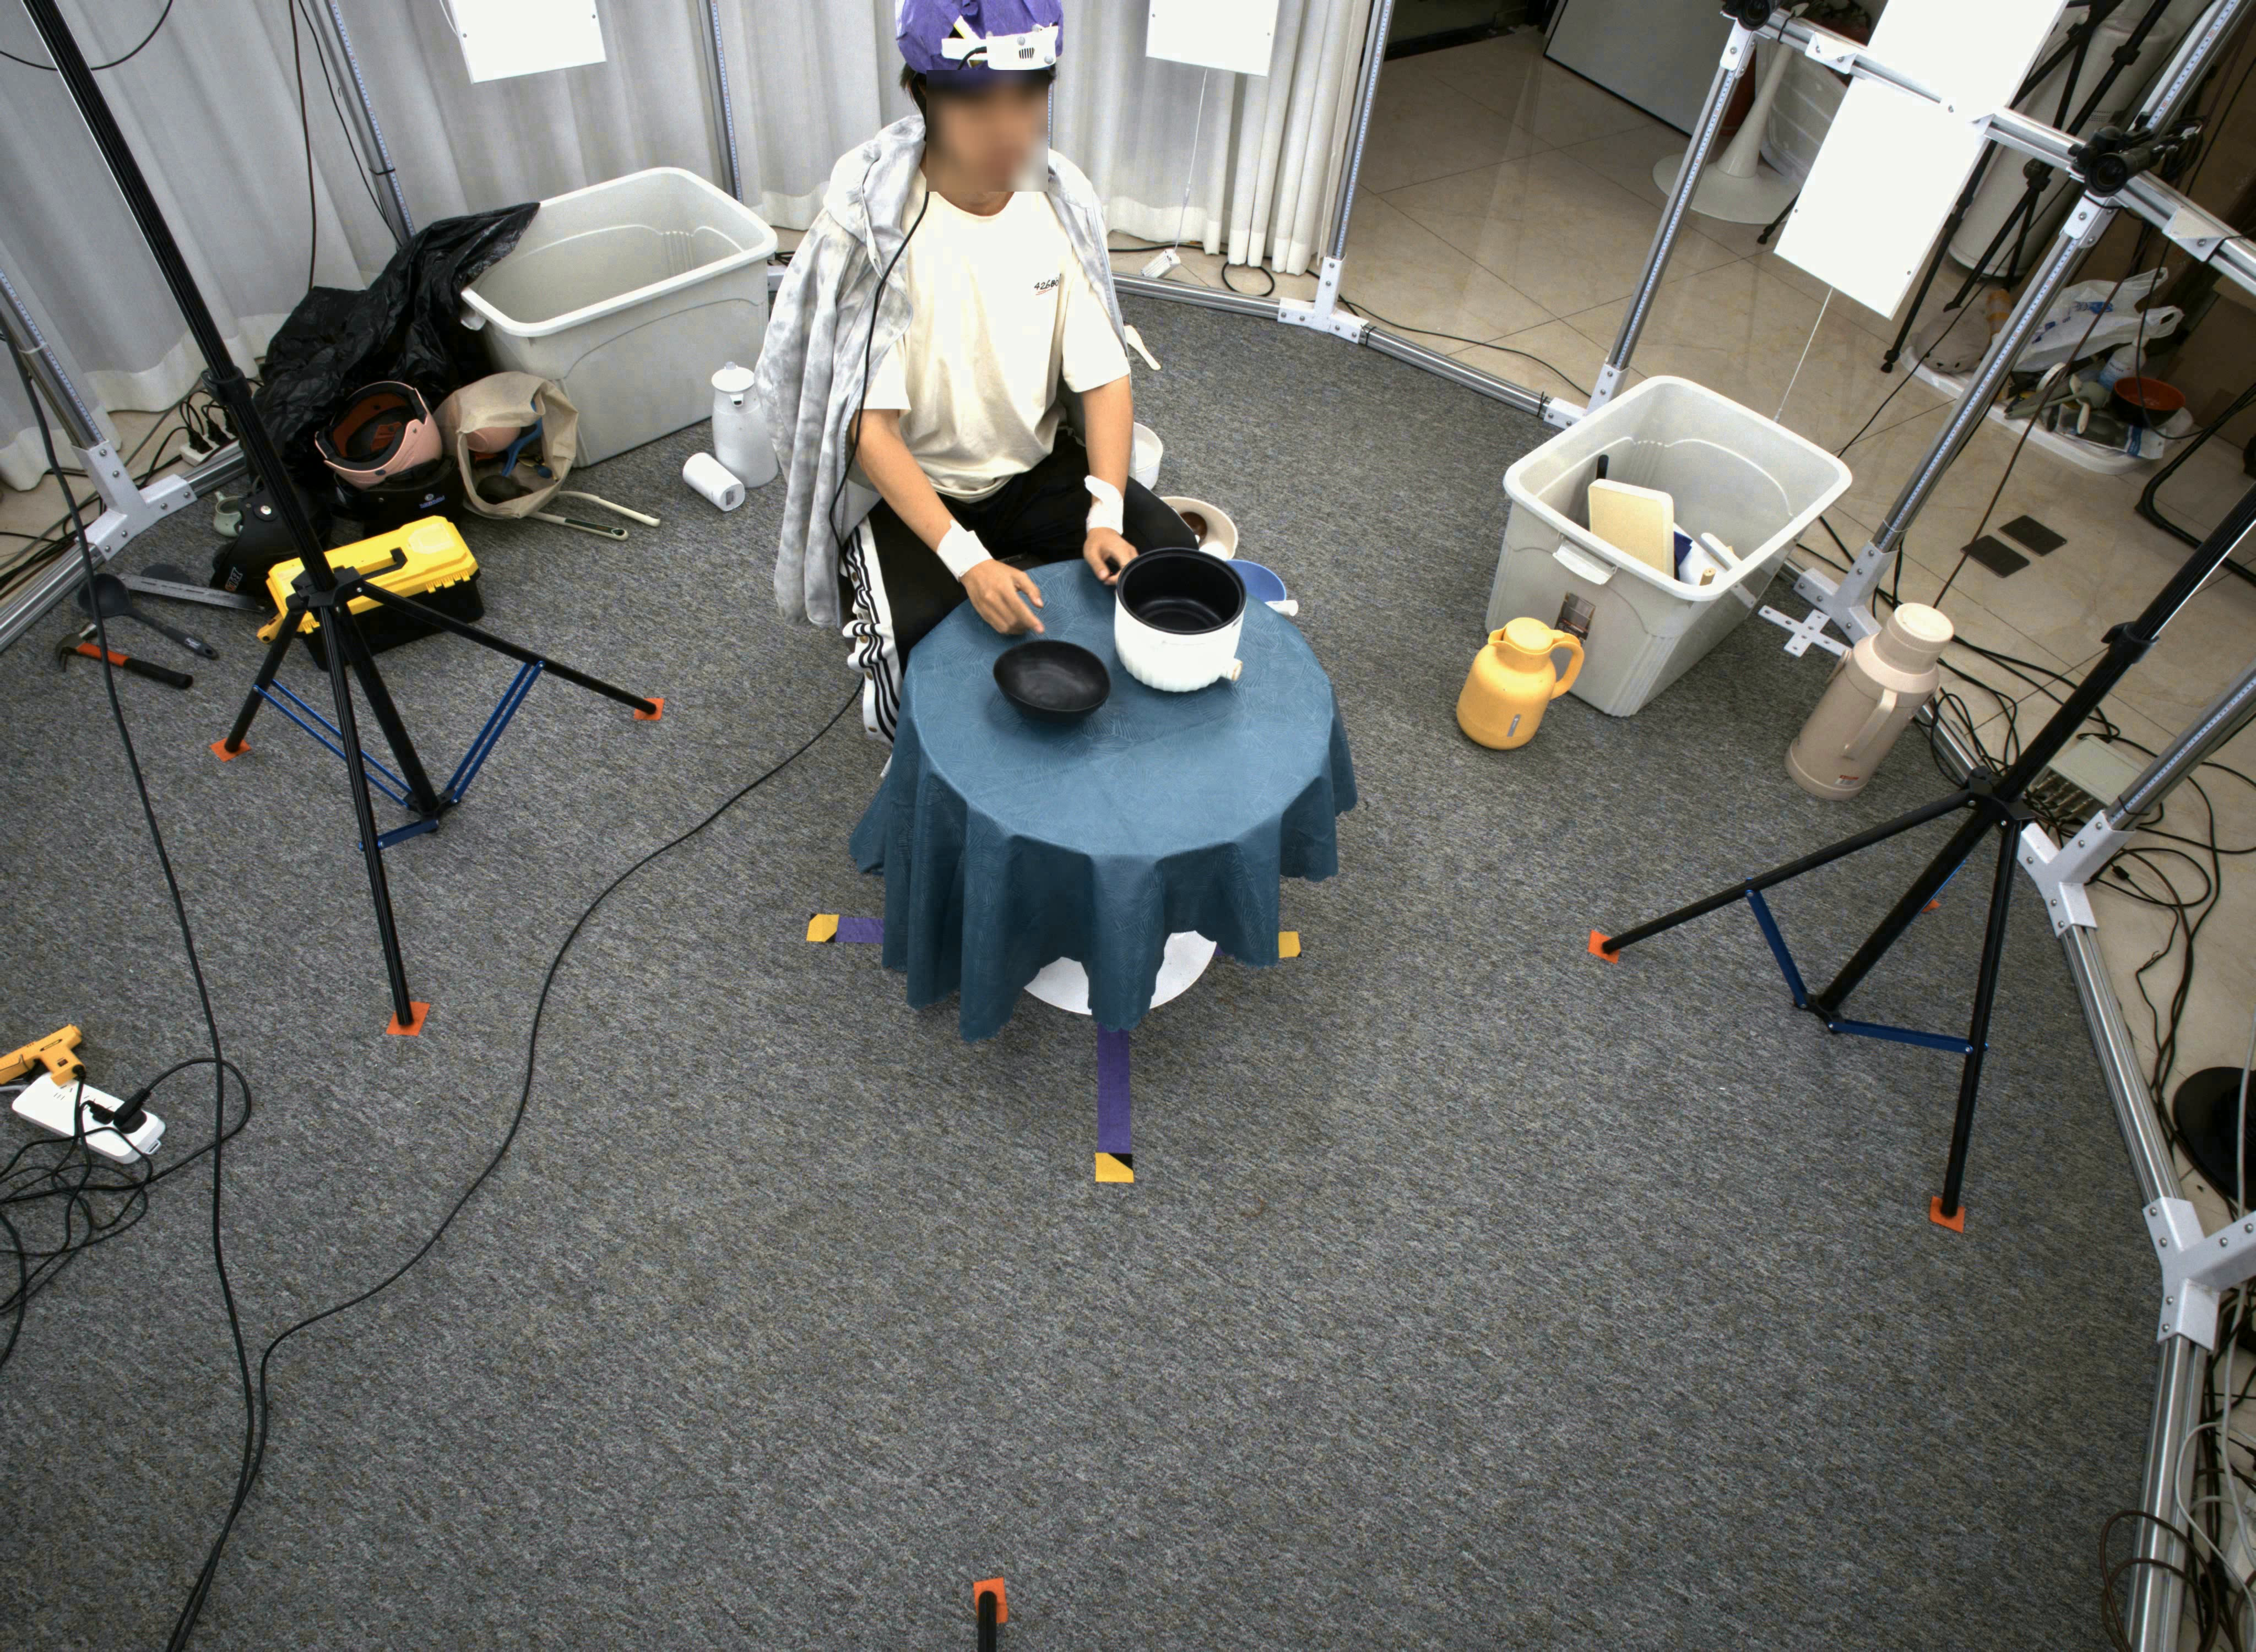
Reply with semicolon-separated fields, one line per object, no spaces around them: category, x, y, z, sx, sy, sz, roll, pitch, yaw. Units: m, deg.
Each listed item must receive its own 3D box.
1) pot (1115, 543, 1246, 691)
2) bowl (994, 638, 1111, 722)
pot;0.076;-0.286;1.825;0.192;0.139;0.244;21;51;18
bowl;-0.106;-0.191;1.776;0.171;0.065;0.140;22;51;16
